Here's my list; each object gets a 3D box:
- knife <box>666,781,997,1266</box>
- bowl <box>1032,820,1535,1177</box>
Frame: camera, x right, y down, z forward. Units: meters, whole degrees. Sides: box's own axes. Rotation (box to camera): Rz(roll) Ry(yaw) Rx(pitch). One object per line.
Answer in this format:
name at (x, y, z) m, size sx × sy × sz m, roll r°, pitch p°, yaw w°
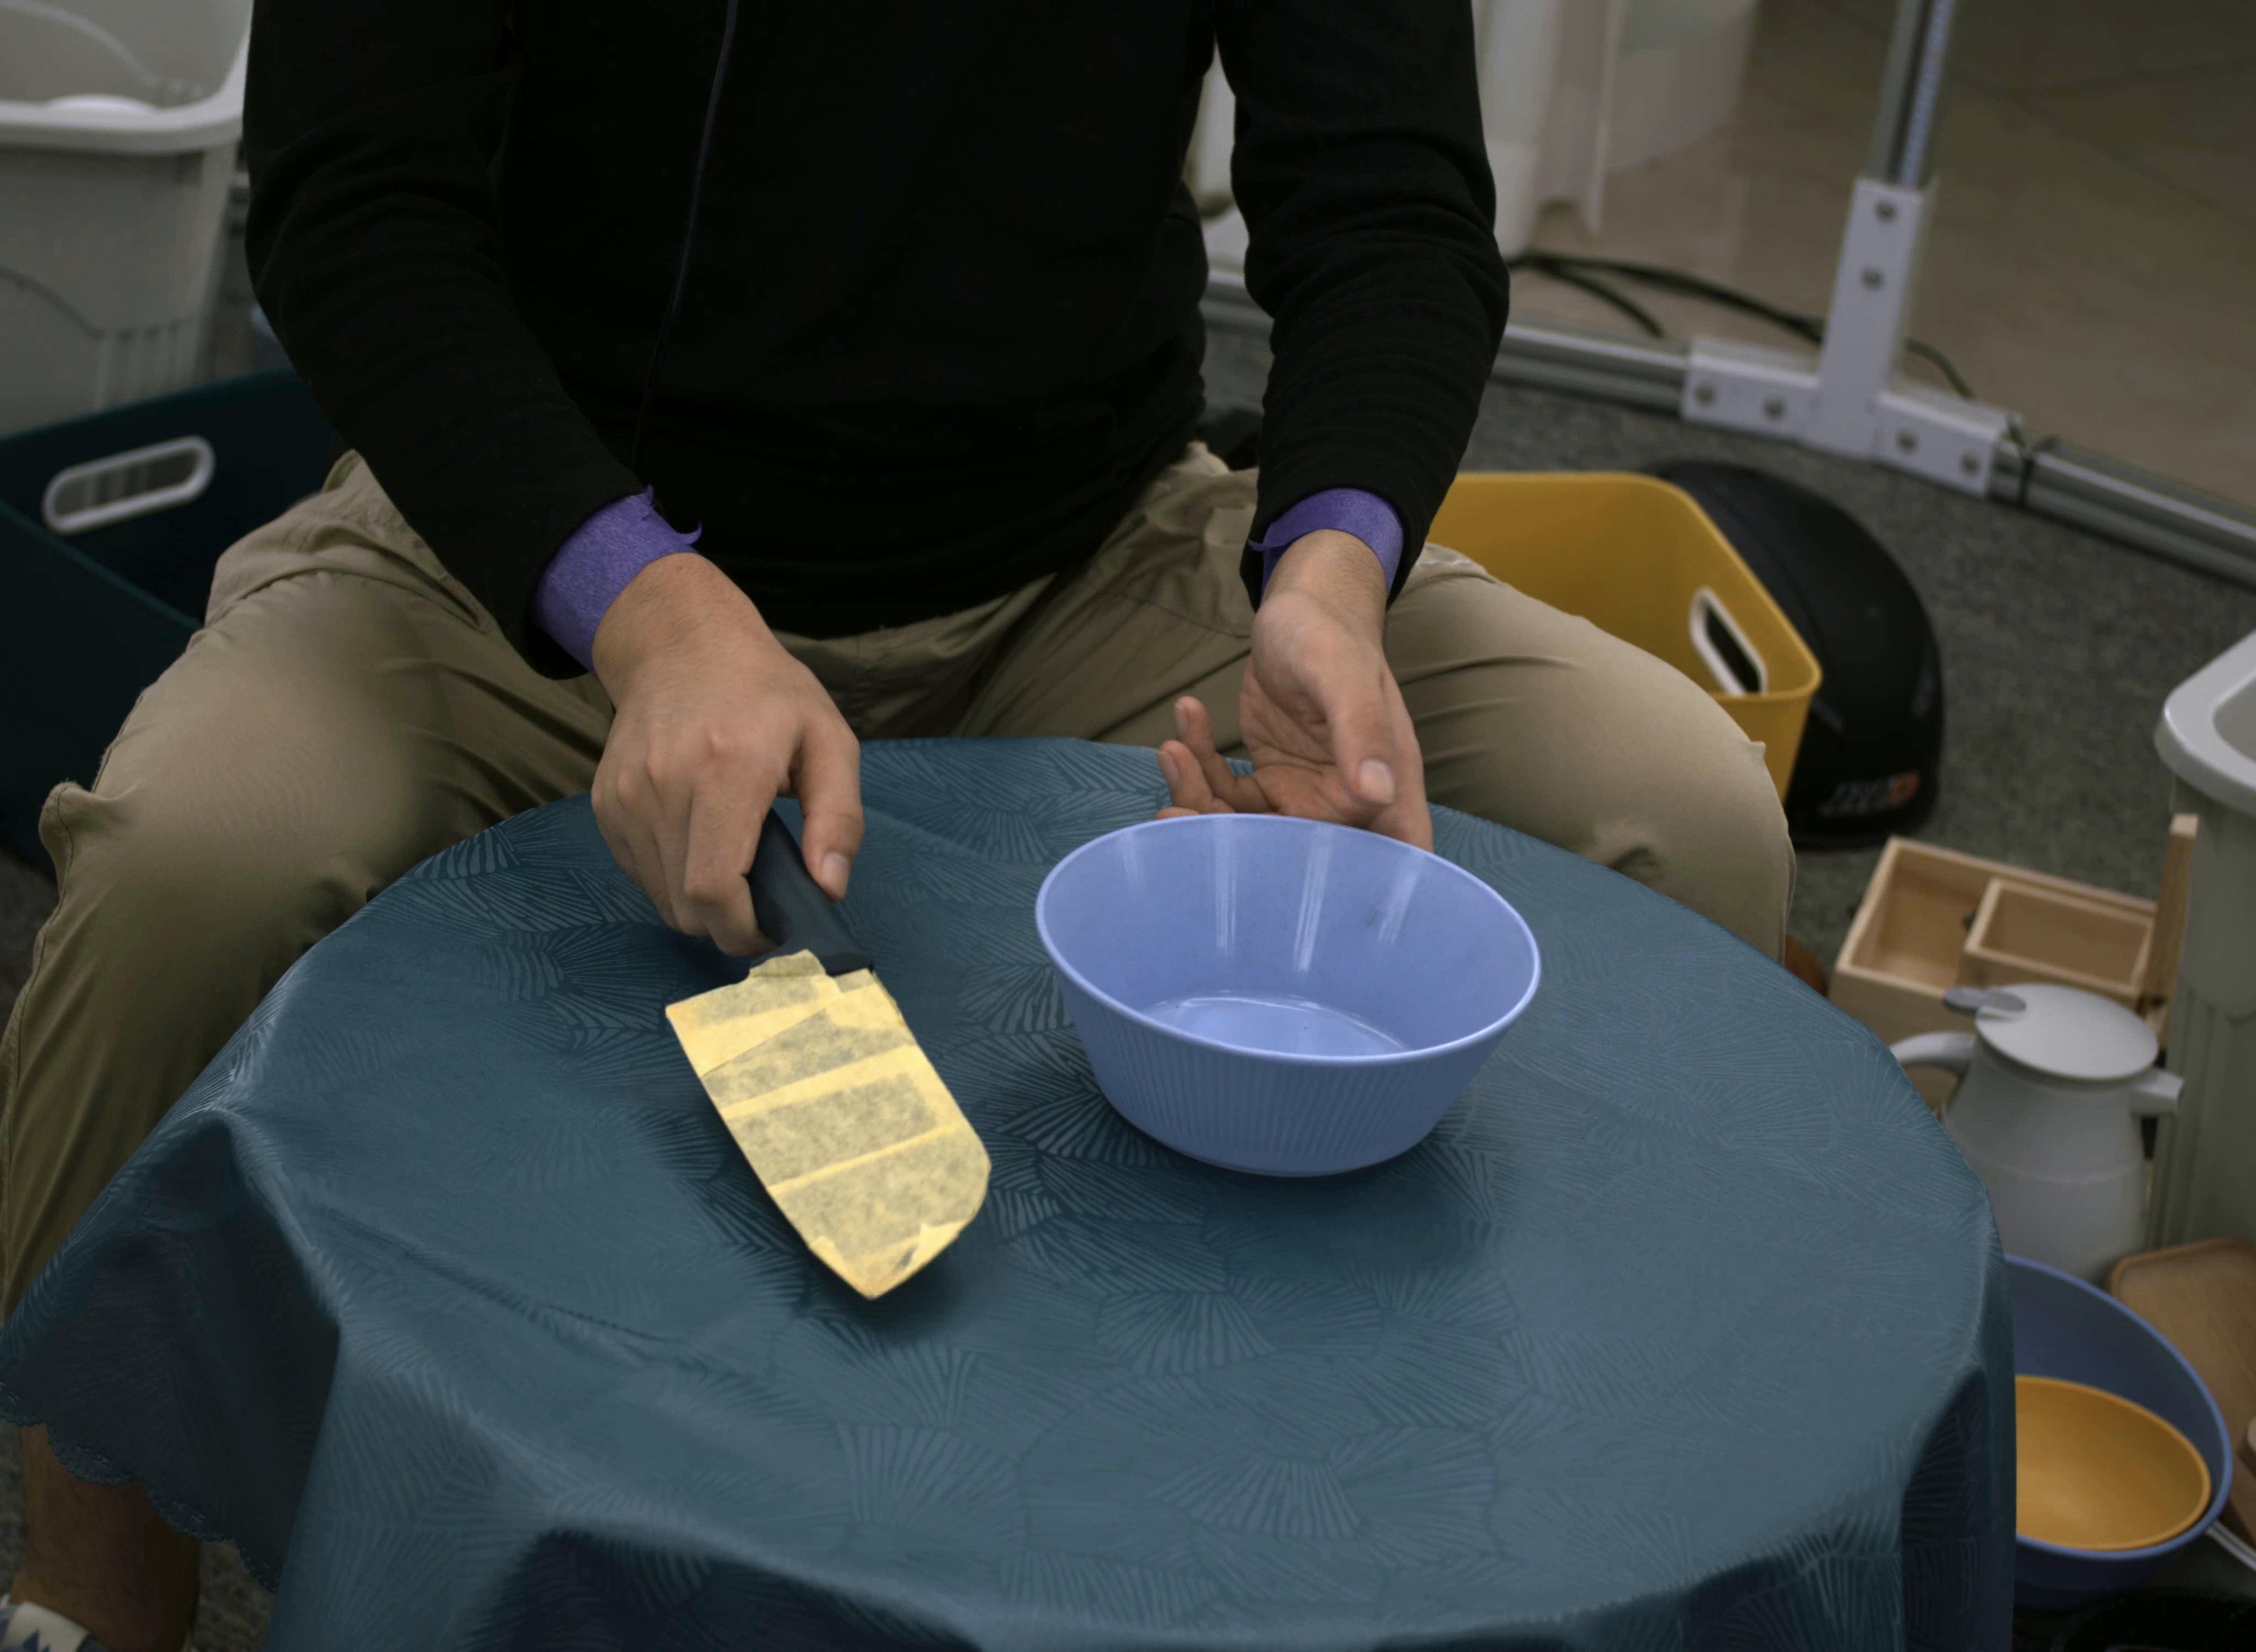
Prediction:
knife at (-0.115, 0.066, 1.820) m, size 0.080 × 0.027 × 0.292 m, roll -14°, pitch 35°, yaw -14°
bowl at (0.051, 0.066, 1.855) m, size 0.175 × 0.070 × 0.177 m, roll 5°, pitch 27°, yaw -3°
